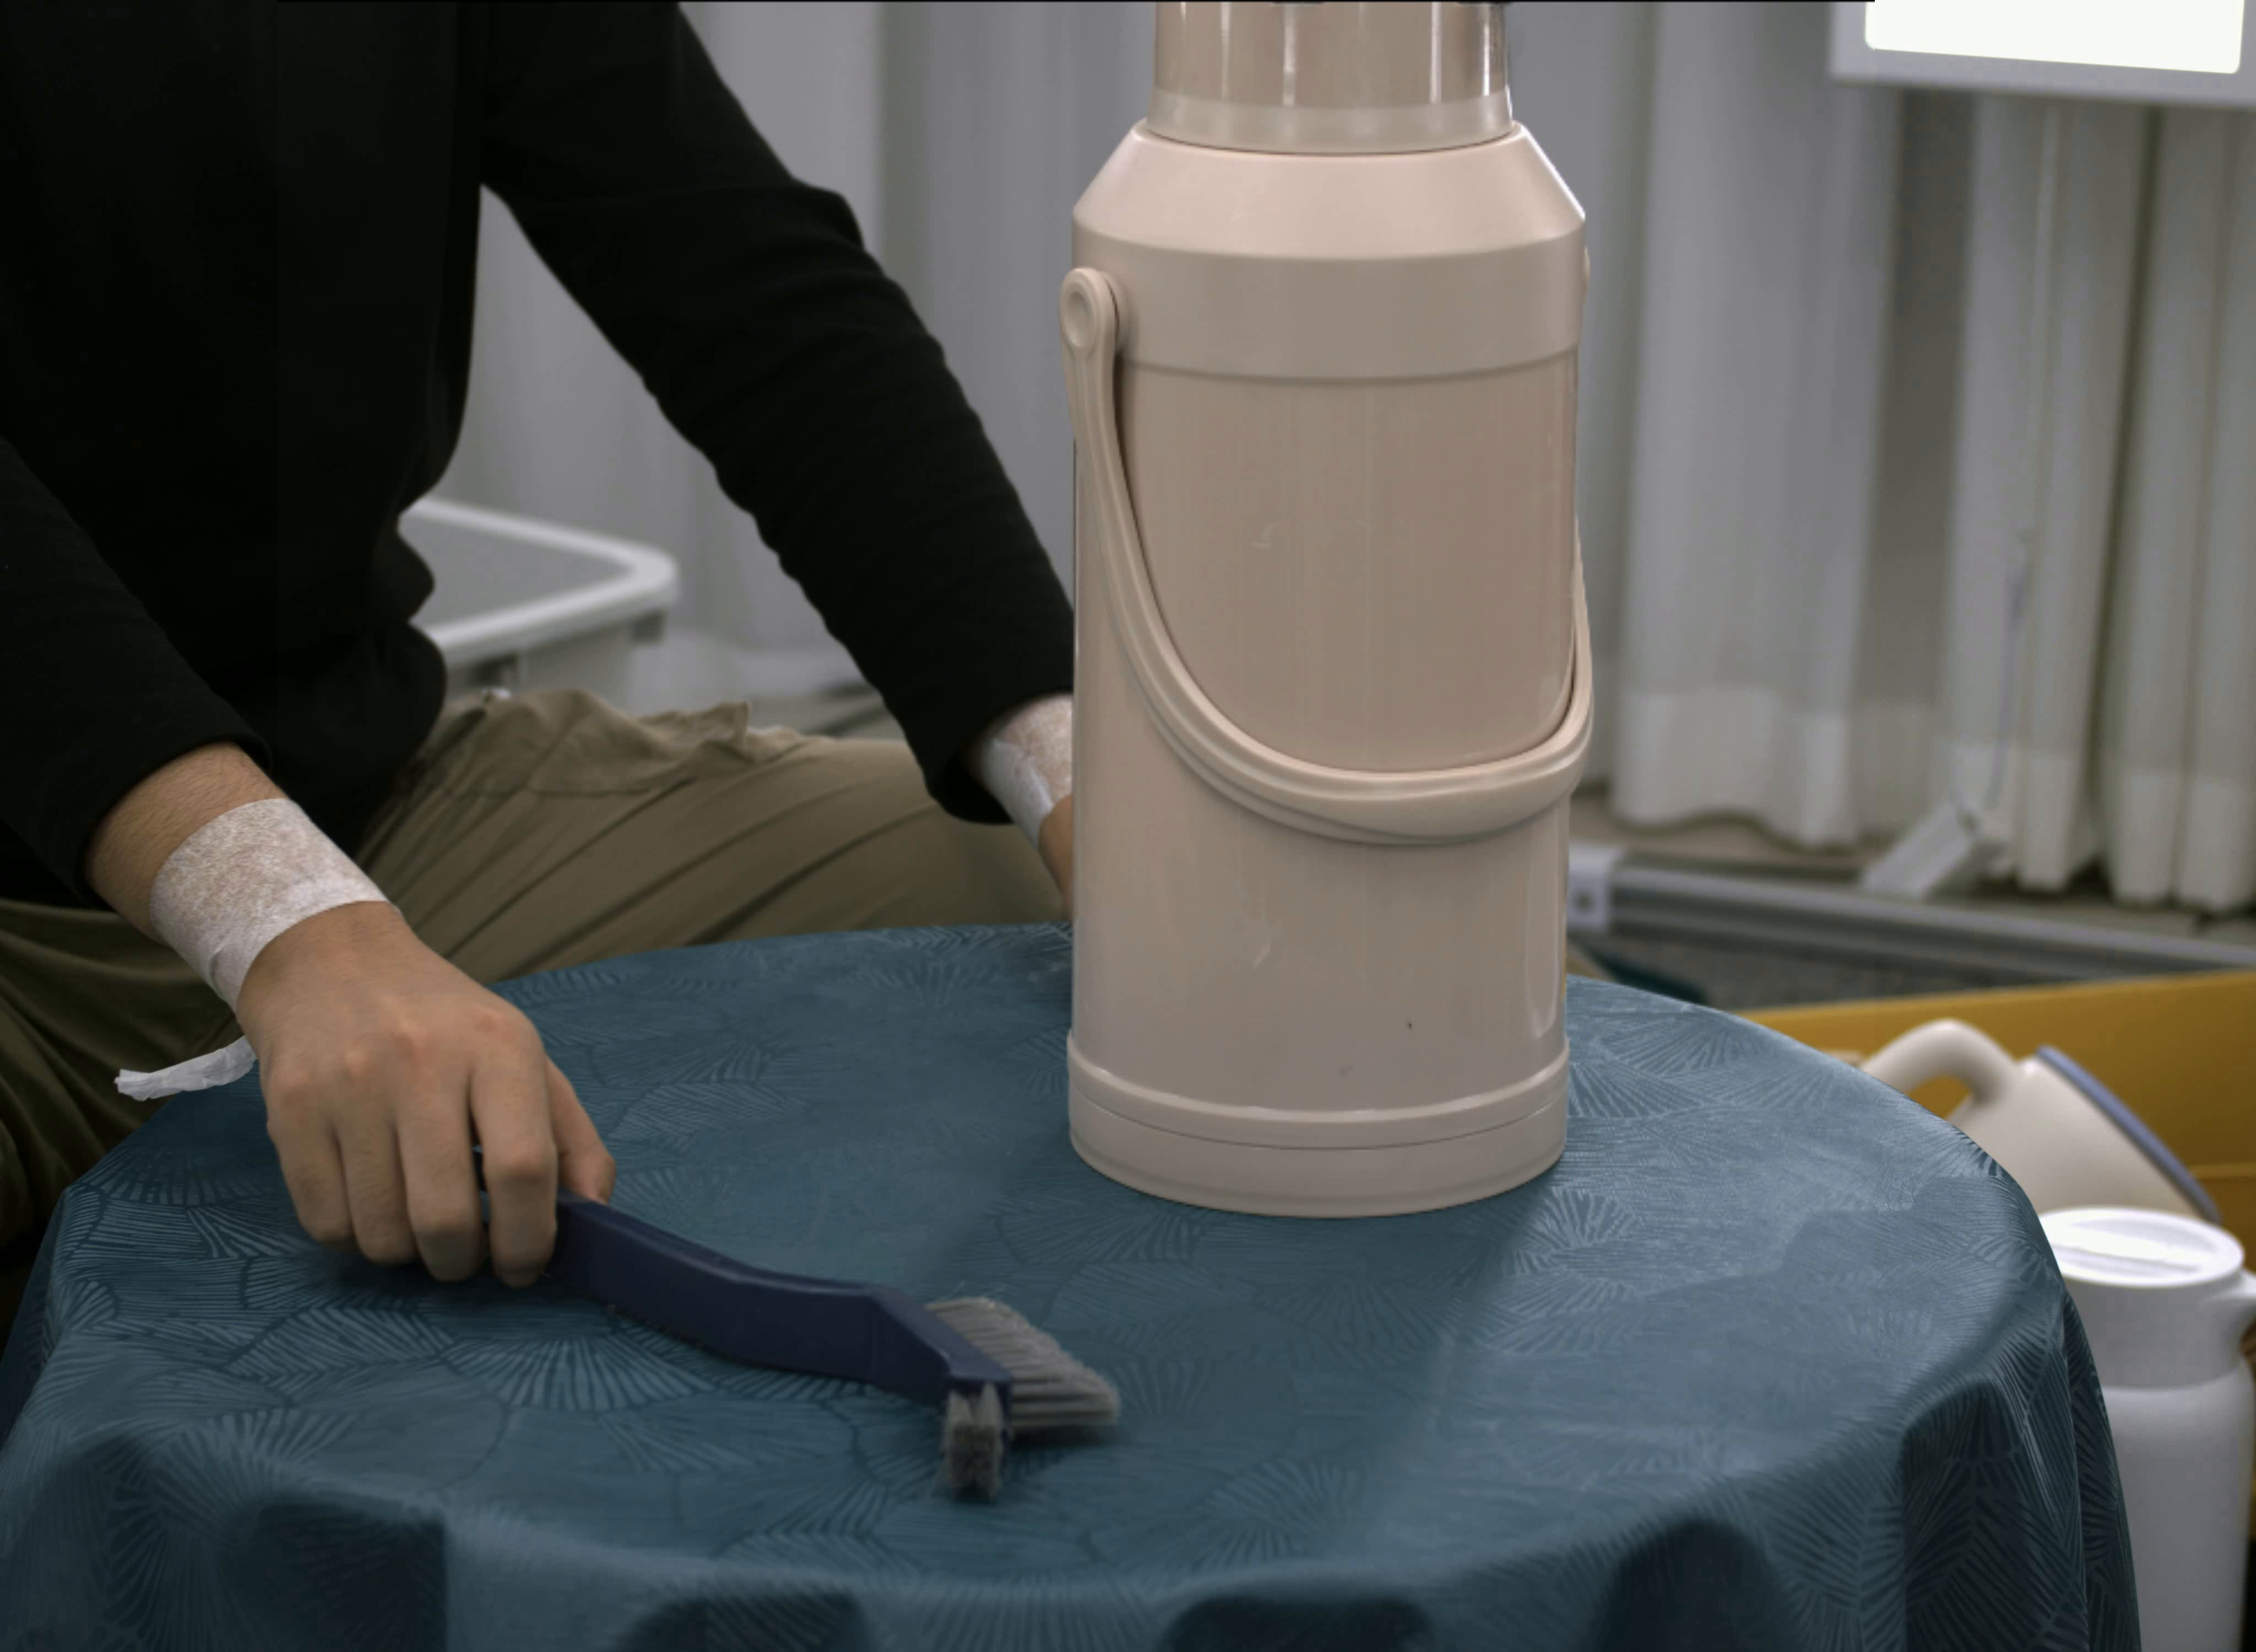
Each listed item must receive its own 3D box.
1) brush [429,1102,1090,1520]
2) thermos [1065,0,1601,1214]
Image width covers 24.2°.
[{"bbox_3d":[-0.123,0.132,1.482,0.269,0.034,0.096,15,20,36],"label":"brush"},{"bbox_3d":[0.057,-0.097,1.631,0.176,0.410,0.204,-11,20,-29],"label":"thermos"}]
